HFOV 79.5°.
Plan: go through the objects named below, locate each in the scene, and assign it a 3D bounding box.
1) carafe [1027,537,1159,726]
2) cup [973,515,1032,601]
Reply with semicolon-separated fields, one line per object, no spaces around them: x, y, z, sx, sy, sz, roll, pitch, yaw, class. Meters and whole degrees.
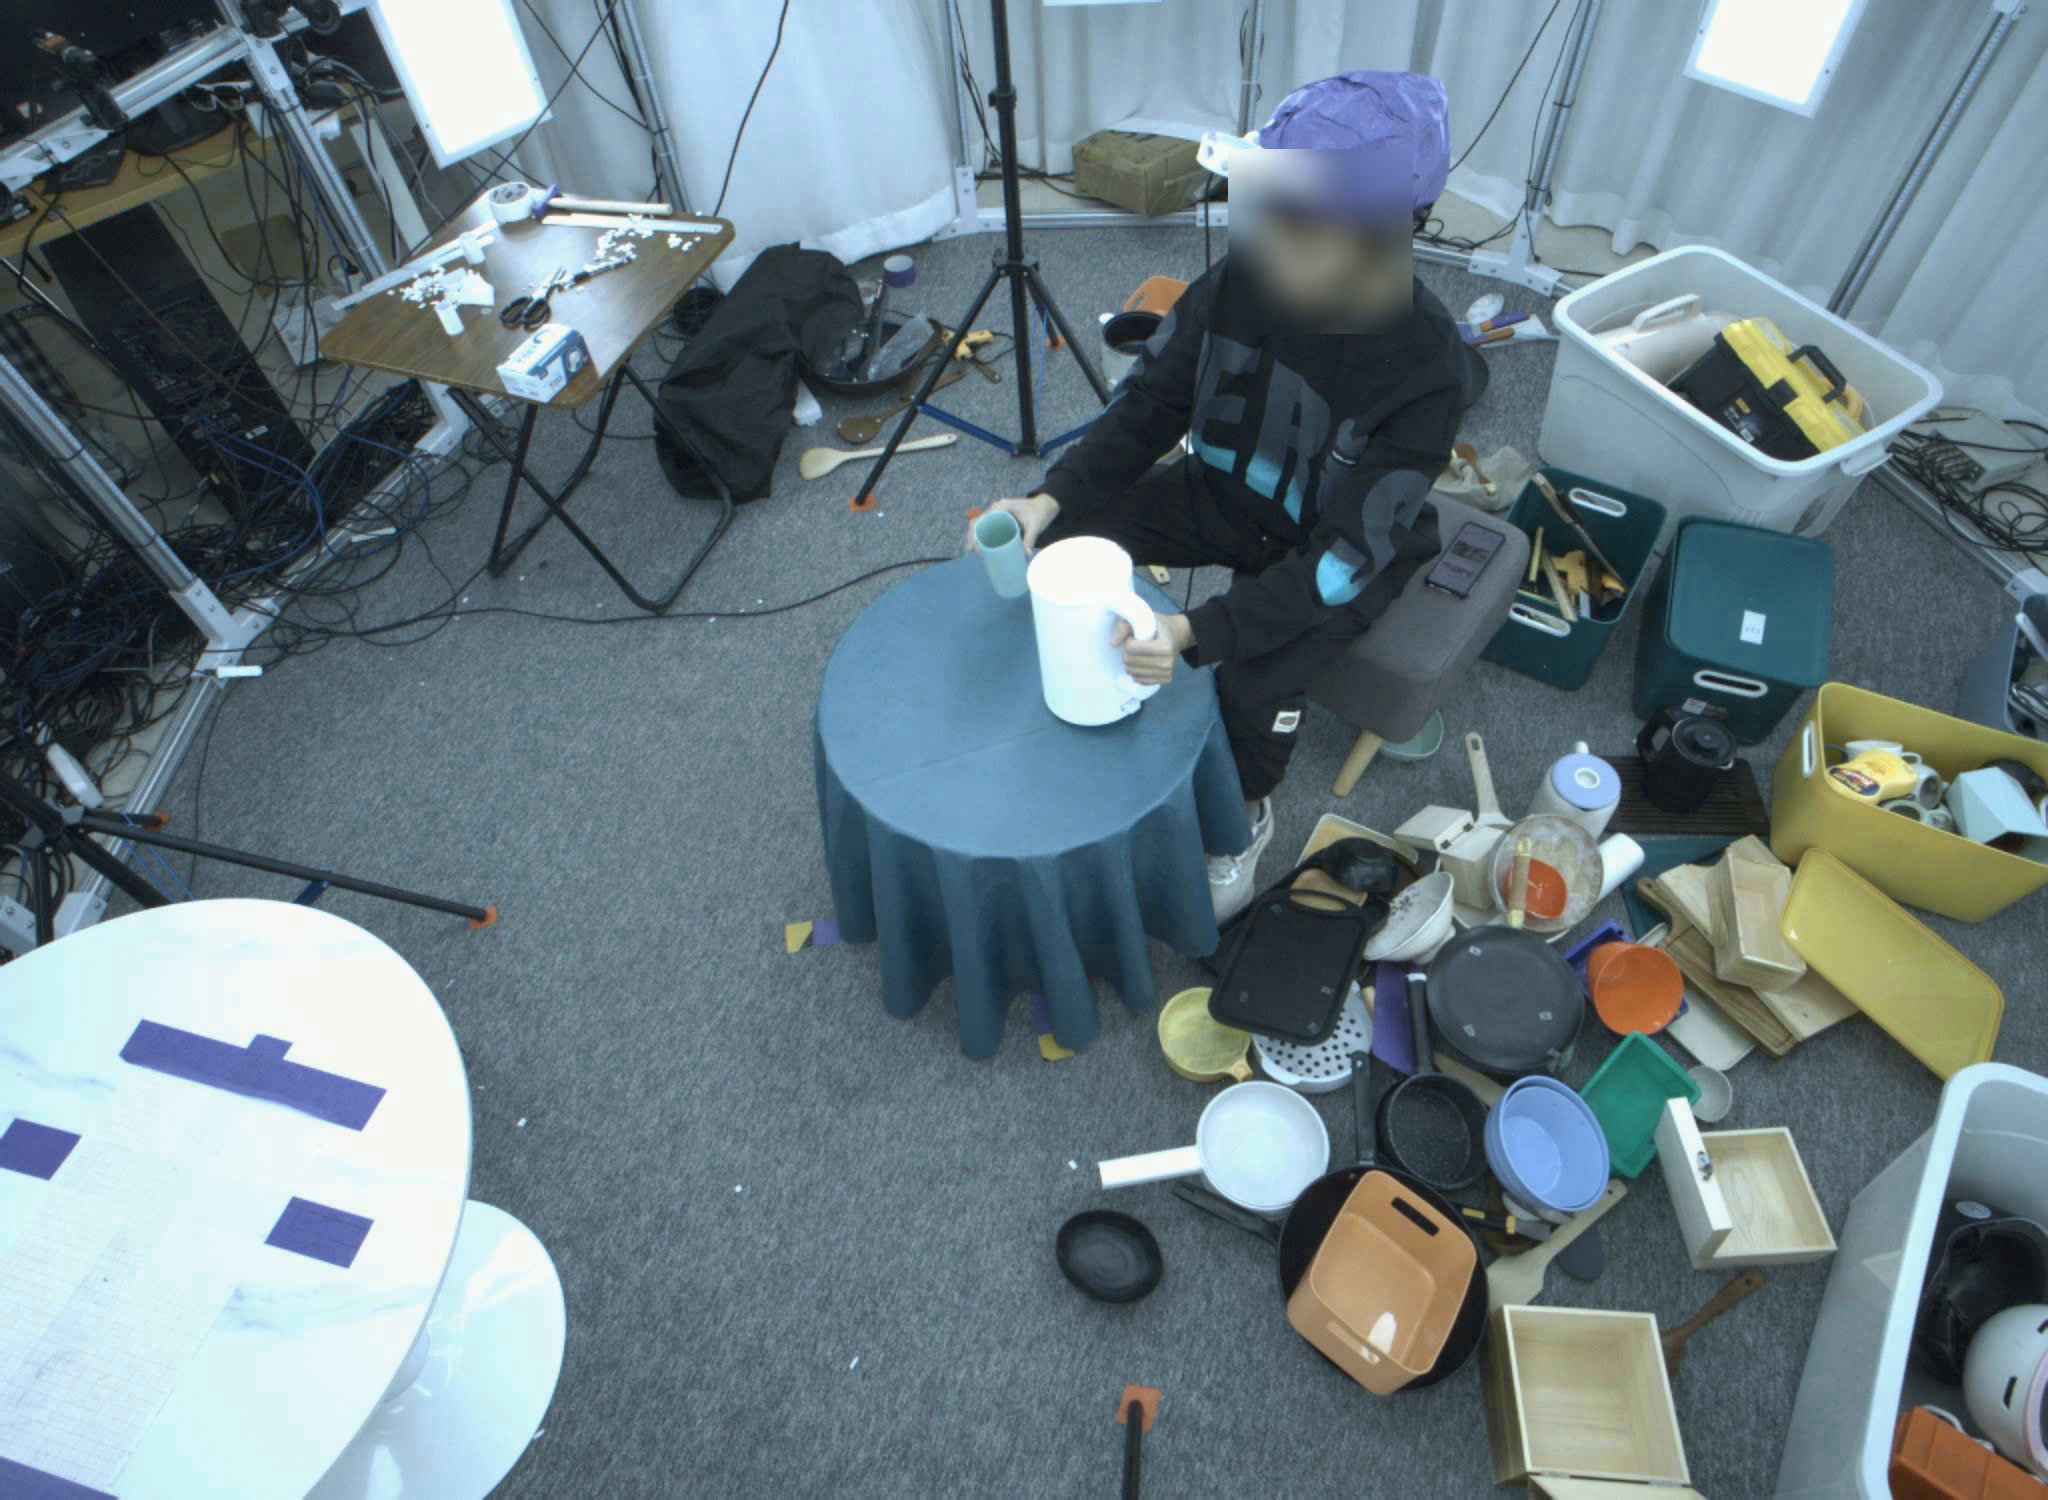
0.104;-0.153;1.730;0.153;0.243;0.208;-37;52;-21;carafe
-0.029;-0.282;1.802;0.066;0.134;0.066;-4;64;10;cup
